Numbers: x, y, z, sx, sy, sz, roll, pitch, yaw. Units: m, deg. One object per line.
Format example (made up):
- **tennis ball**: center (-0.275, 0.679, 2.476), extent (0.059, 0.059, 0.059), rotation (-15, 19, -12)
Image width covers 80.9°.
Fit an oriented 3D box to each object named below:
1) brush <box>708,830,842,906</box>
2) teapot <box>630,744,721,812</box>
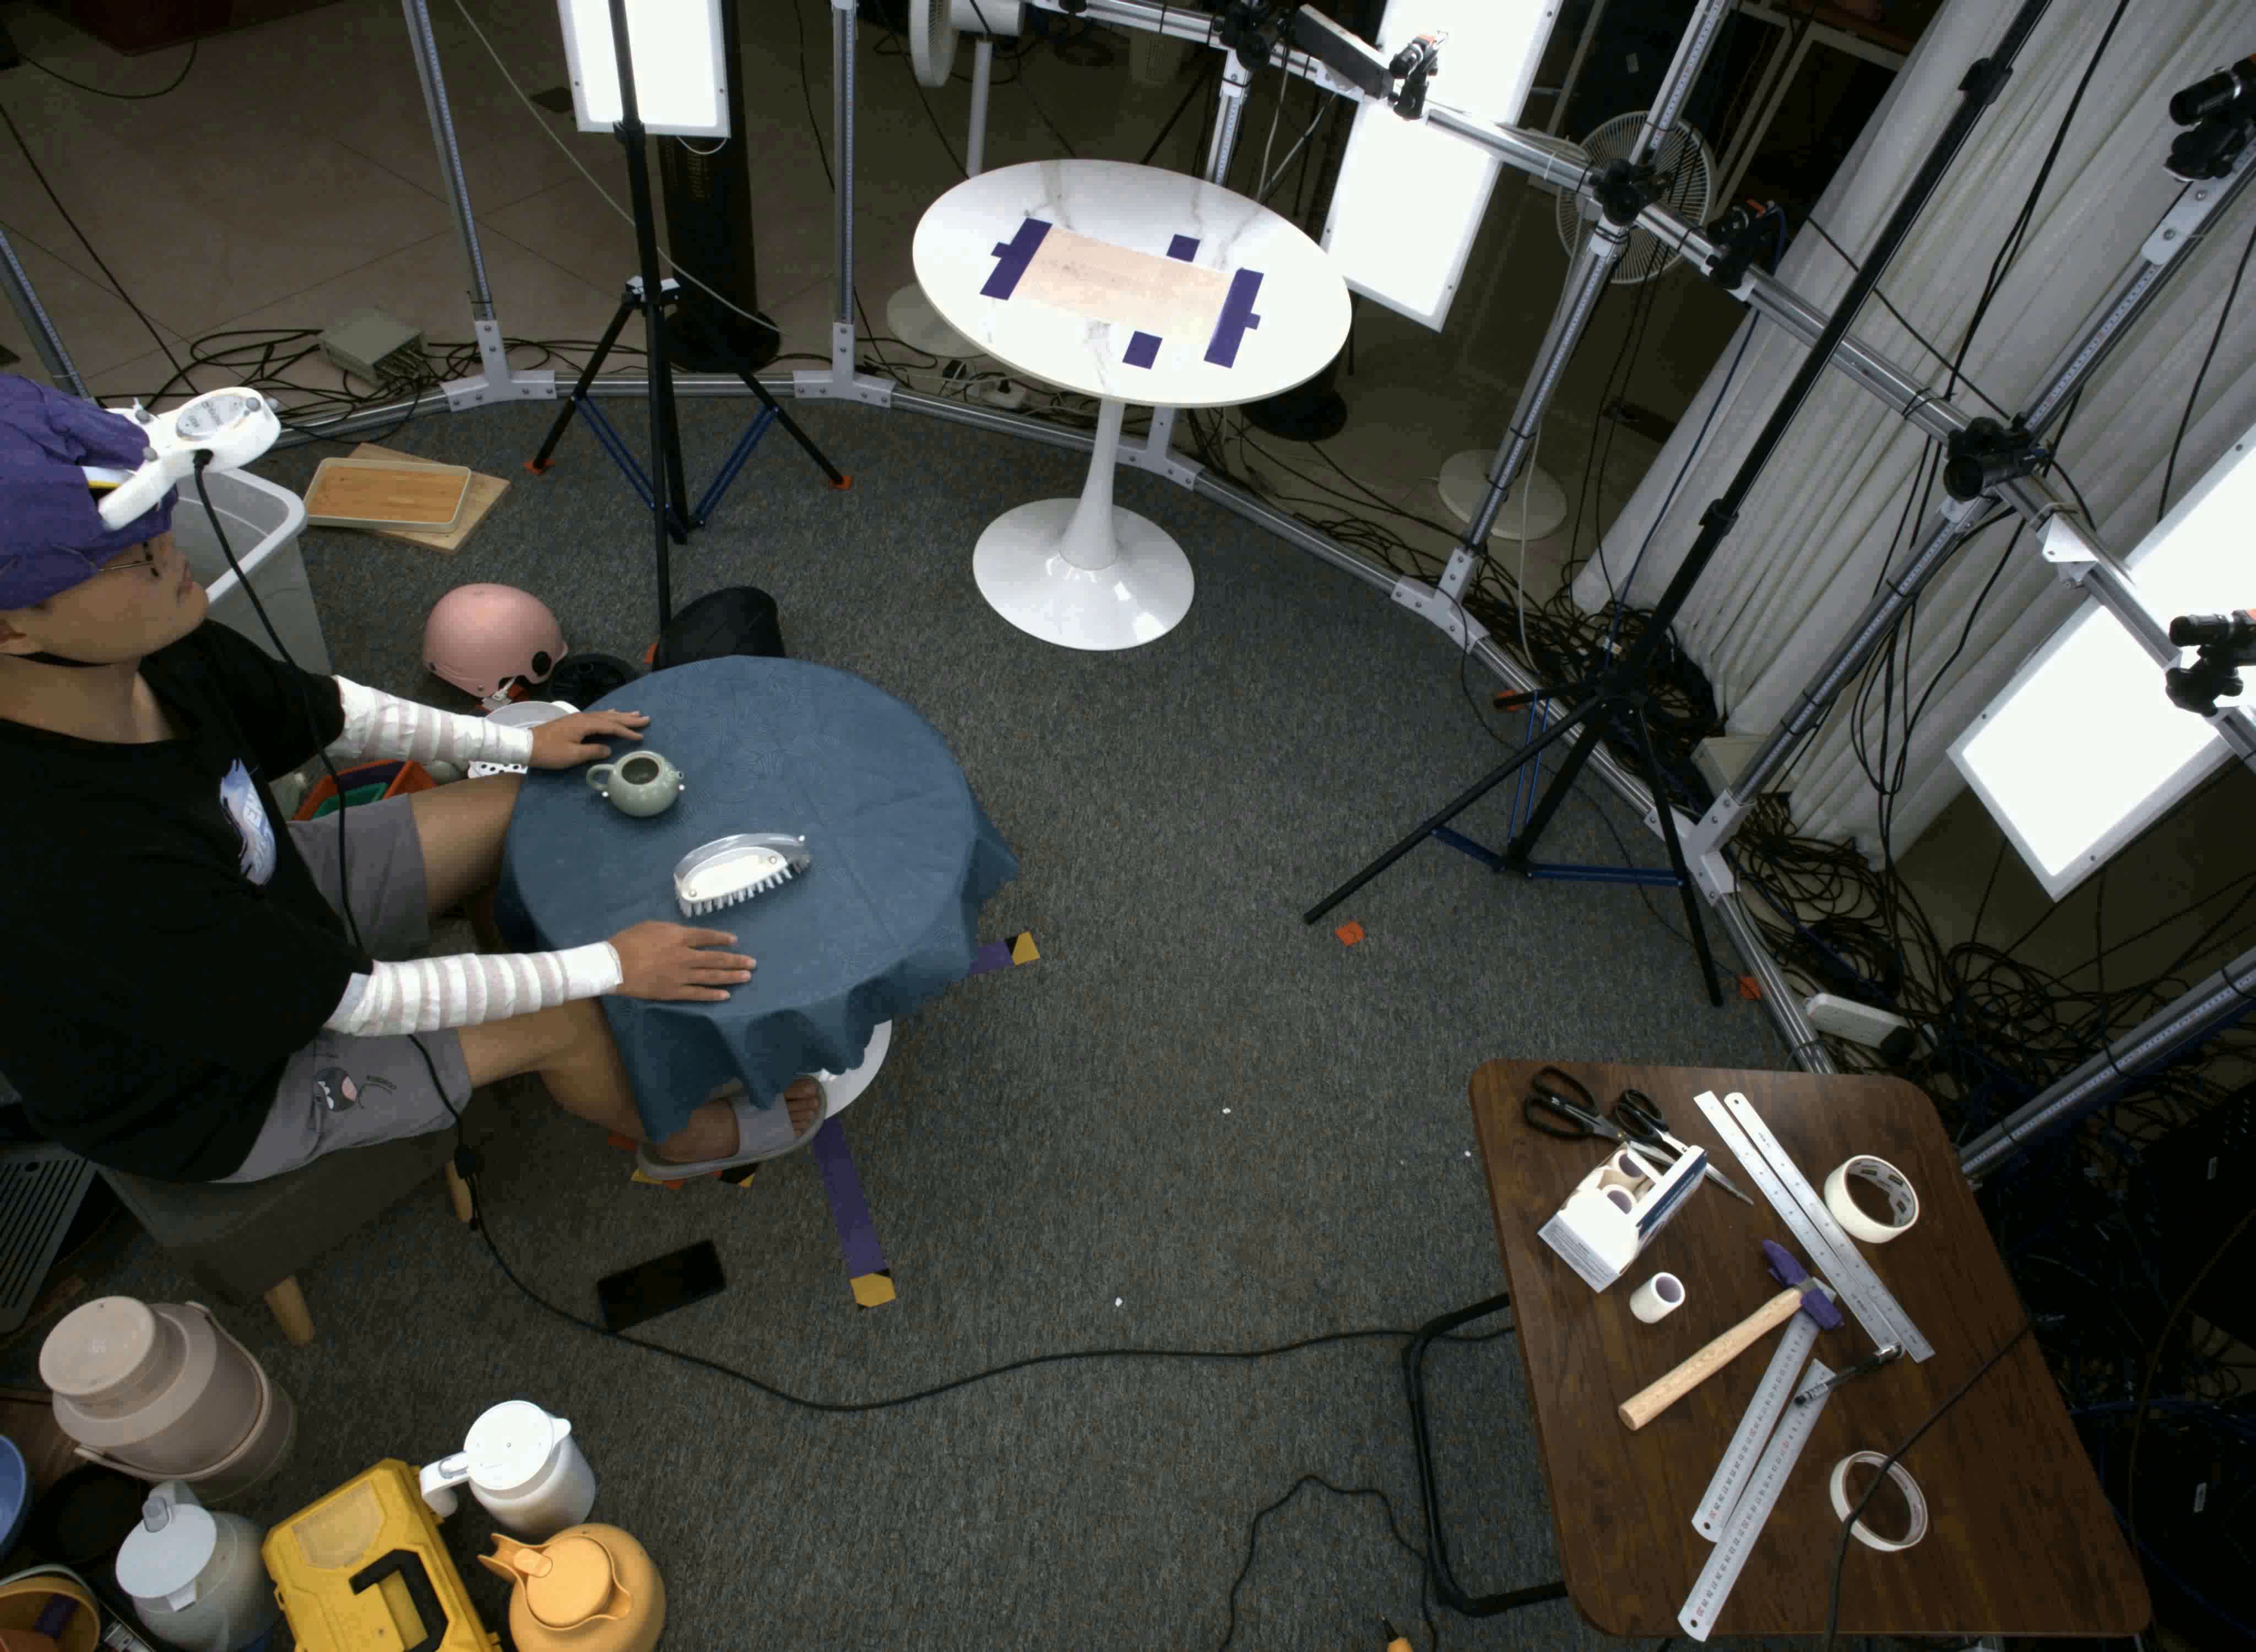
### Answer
- **brush**: center (-0.446, 0.036, 1.643), extent (0.176, 0.096, 0.060), rotation (-16, 61, -25)
- **teapot**: center (-0.599, -0.066, 1.701), extent (0.128, 0.062, 0.090), rotation (11, 54, -5)
